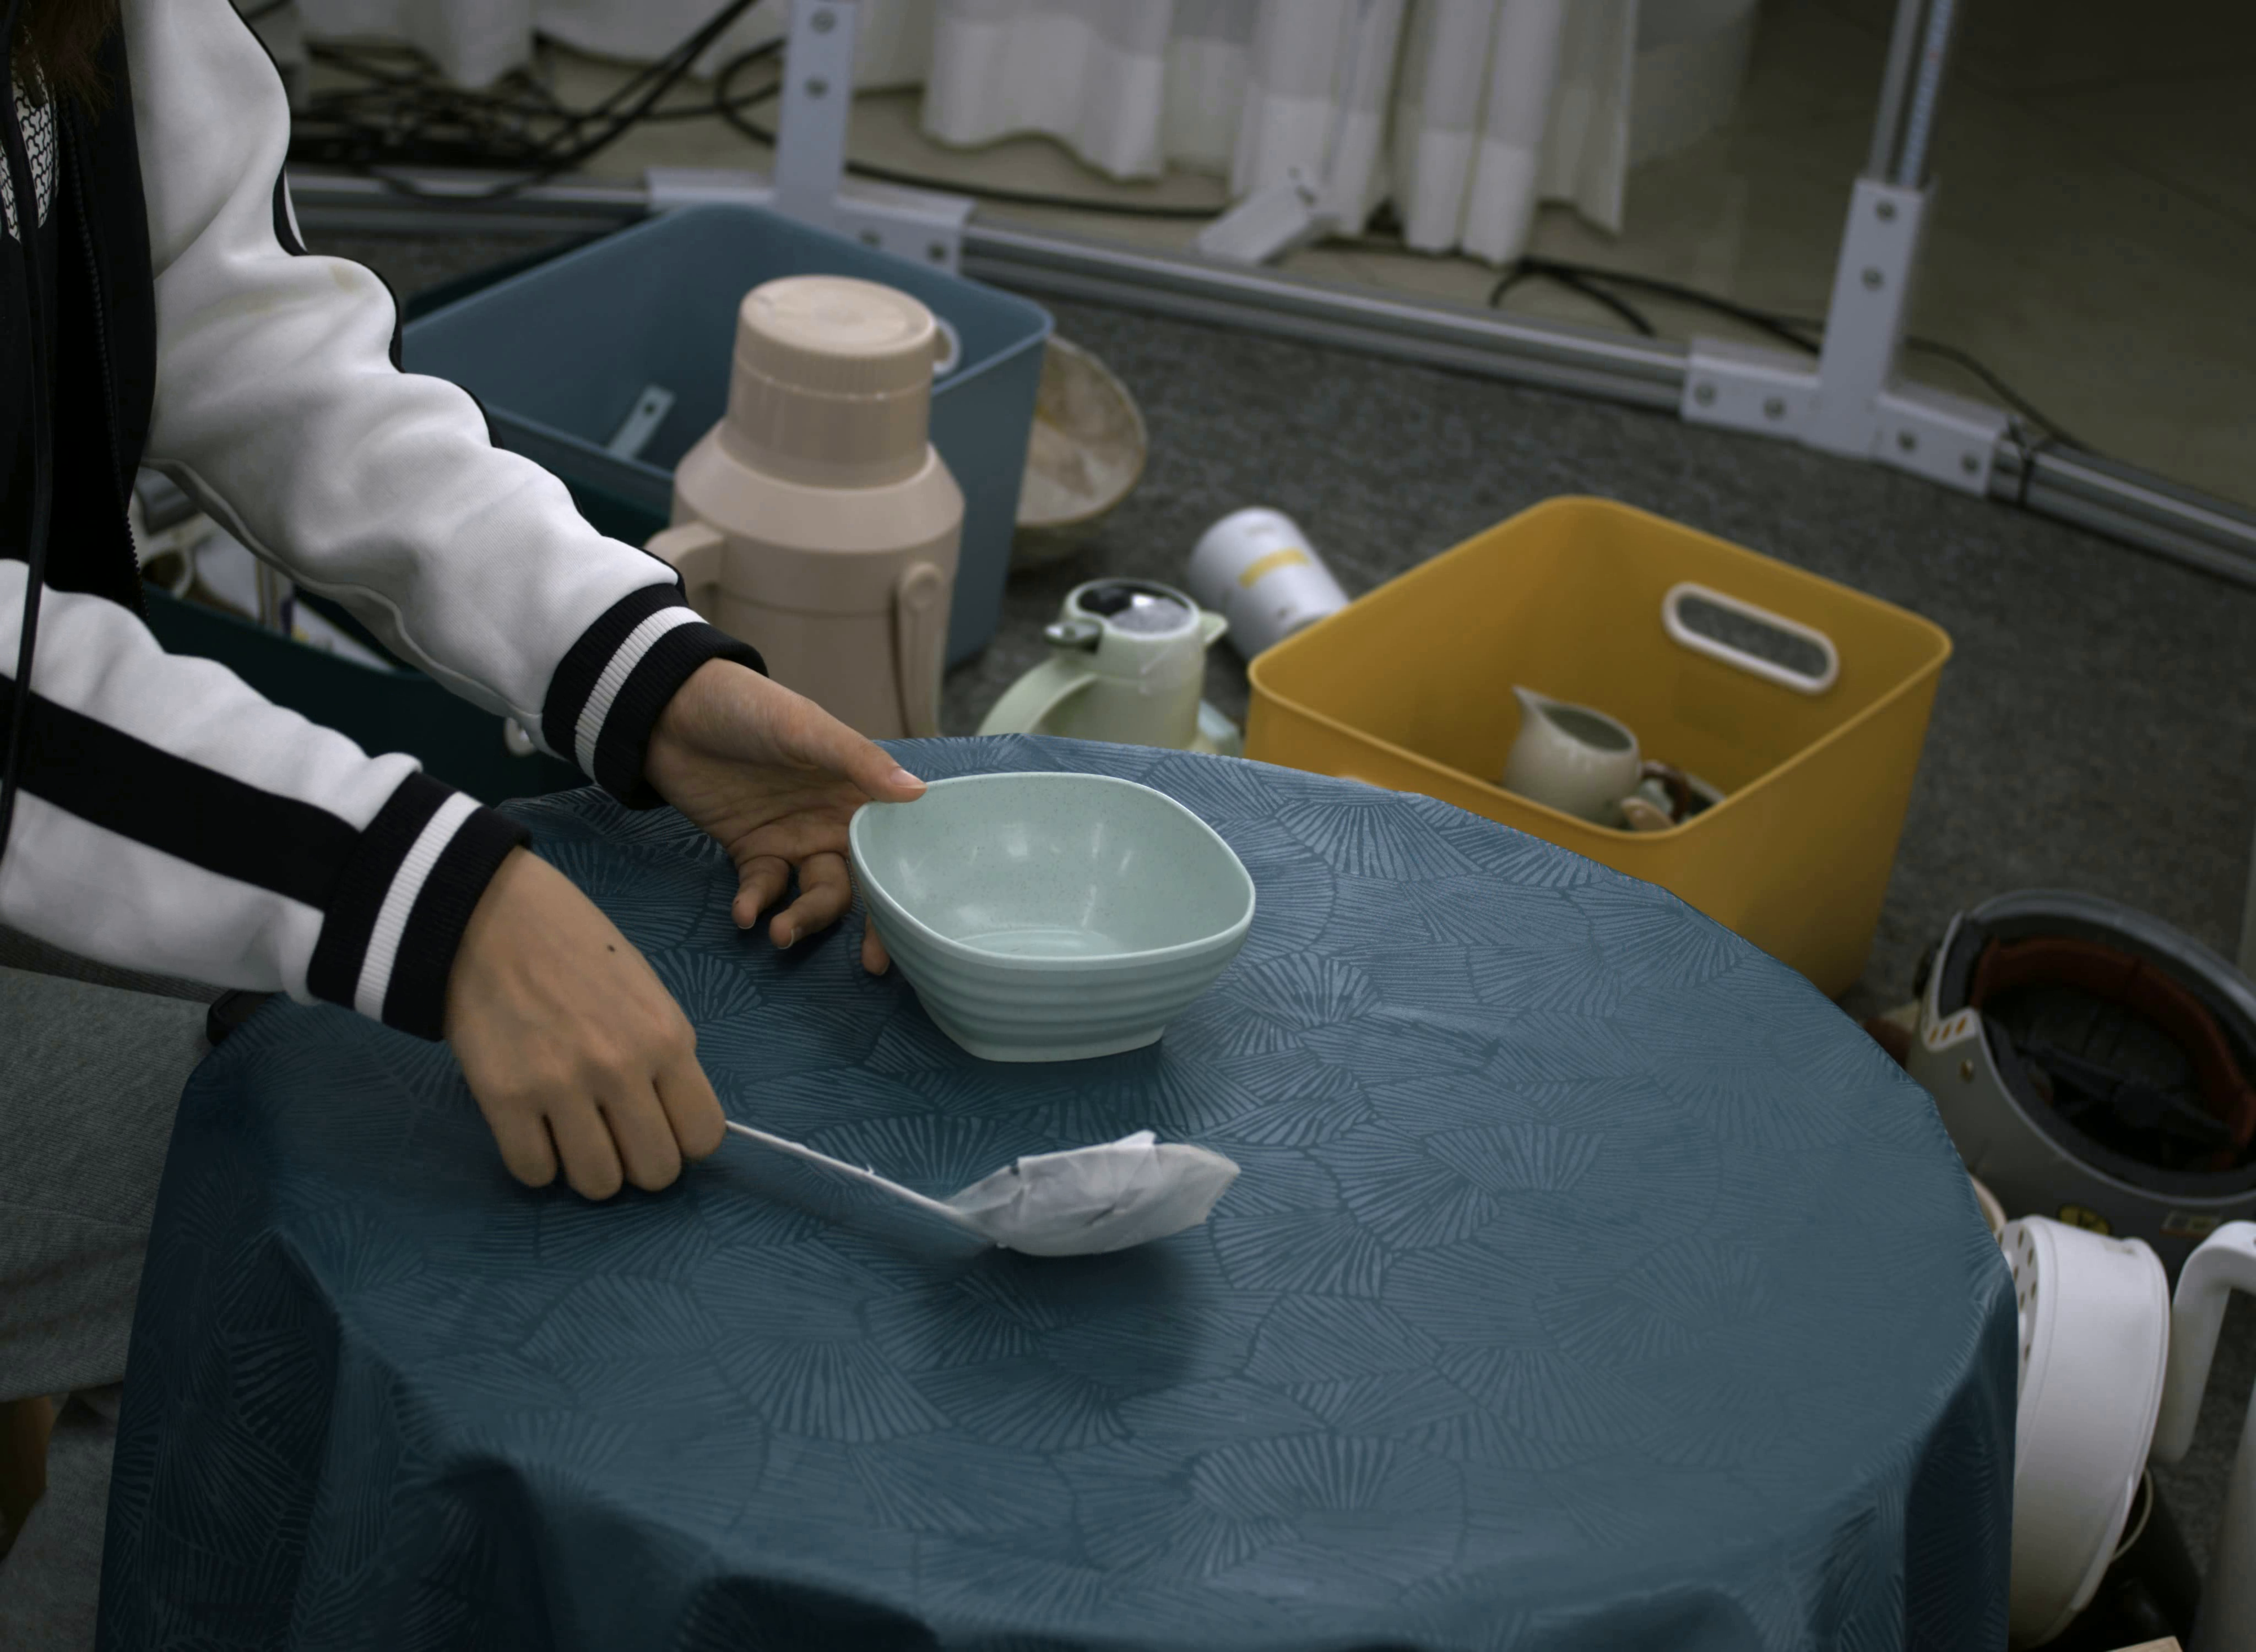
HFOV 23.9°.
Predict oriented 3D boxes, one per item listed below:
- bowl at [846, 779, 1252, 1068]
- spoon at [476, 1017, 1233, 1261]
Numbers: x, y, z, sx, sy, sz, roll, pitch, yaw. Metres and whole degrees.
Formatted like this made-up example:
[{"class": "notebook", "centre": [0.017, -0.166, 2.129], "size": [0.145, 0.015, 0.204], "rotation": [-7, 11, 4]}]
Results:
[{"class": "bowl", "centre": [-0.031, 0.040, 1.901], "size": [0.151, 0.058, 0.152], "rotation": [5, 27, -3]}, {"class": "spoon", "centre": [-0.095, 0.089, 1.781], "size": [0.279, 0.059, 0.100], "rotation": [20, -13, 27]}]
